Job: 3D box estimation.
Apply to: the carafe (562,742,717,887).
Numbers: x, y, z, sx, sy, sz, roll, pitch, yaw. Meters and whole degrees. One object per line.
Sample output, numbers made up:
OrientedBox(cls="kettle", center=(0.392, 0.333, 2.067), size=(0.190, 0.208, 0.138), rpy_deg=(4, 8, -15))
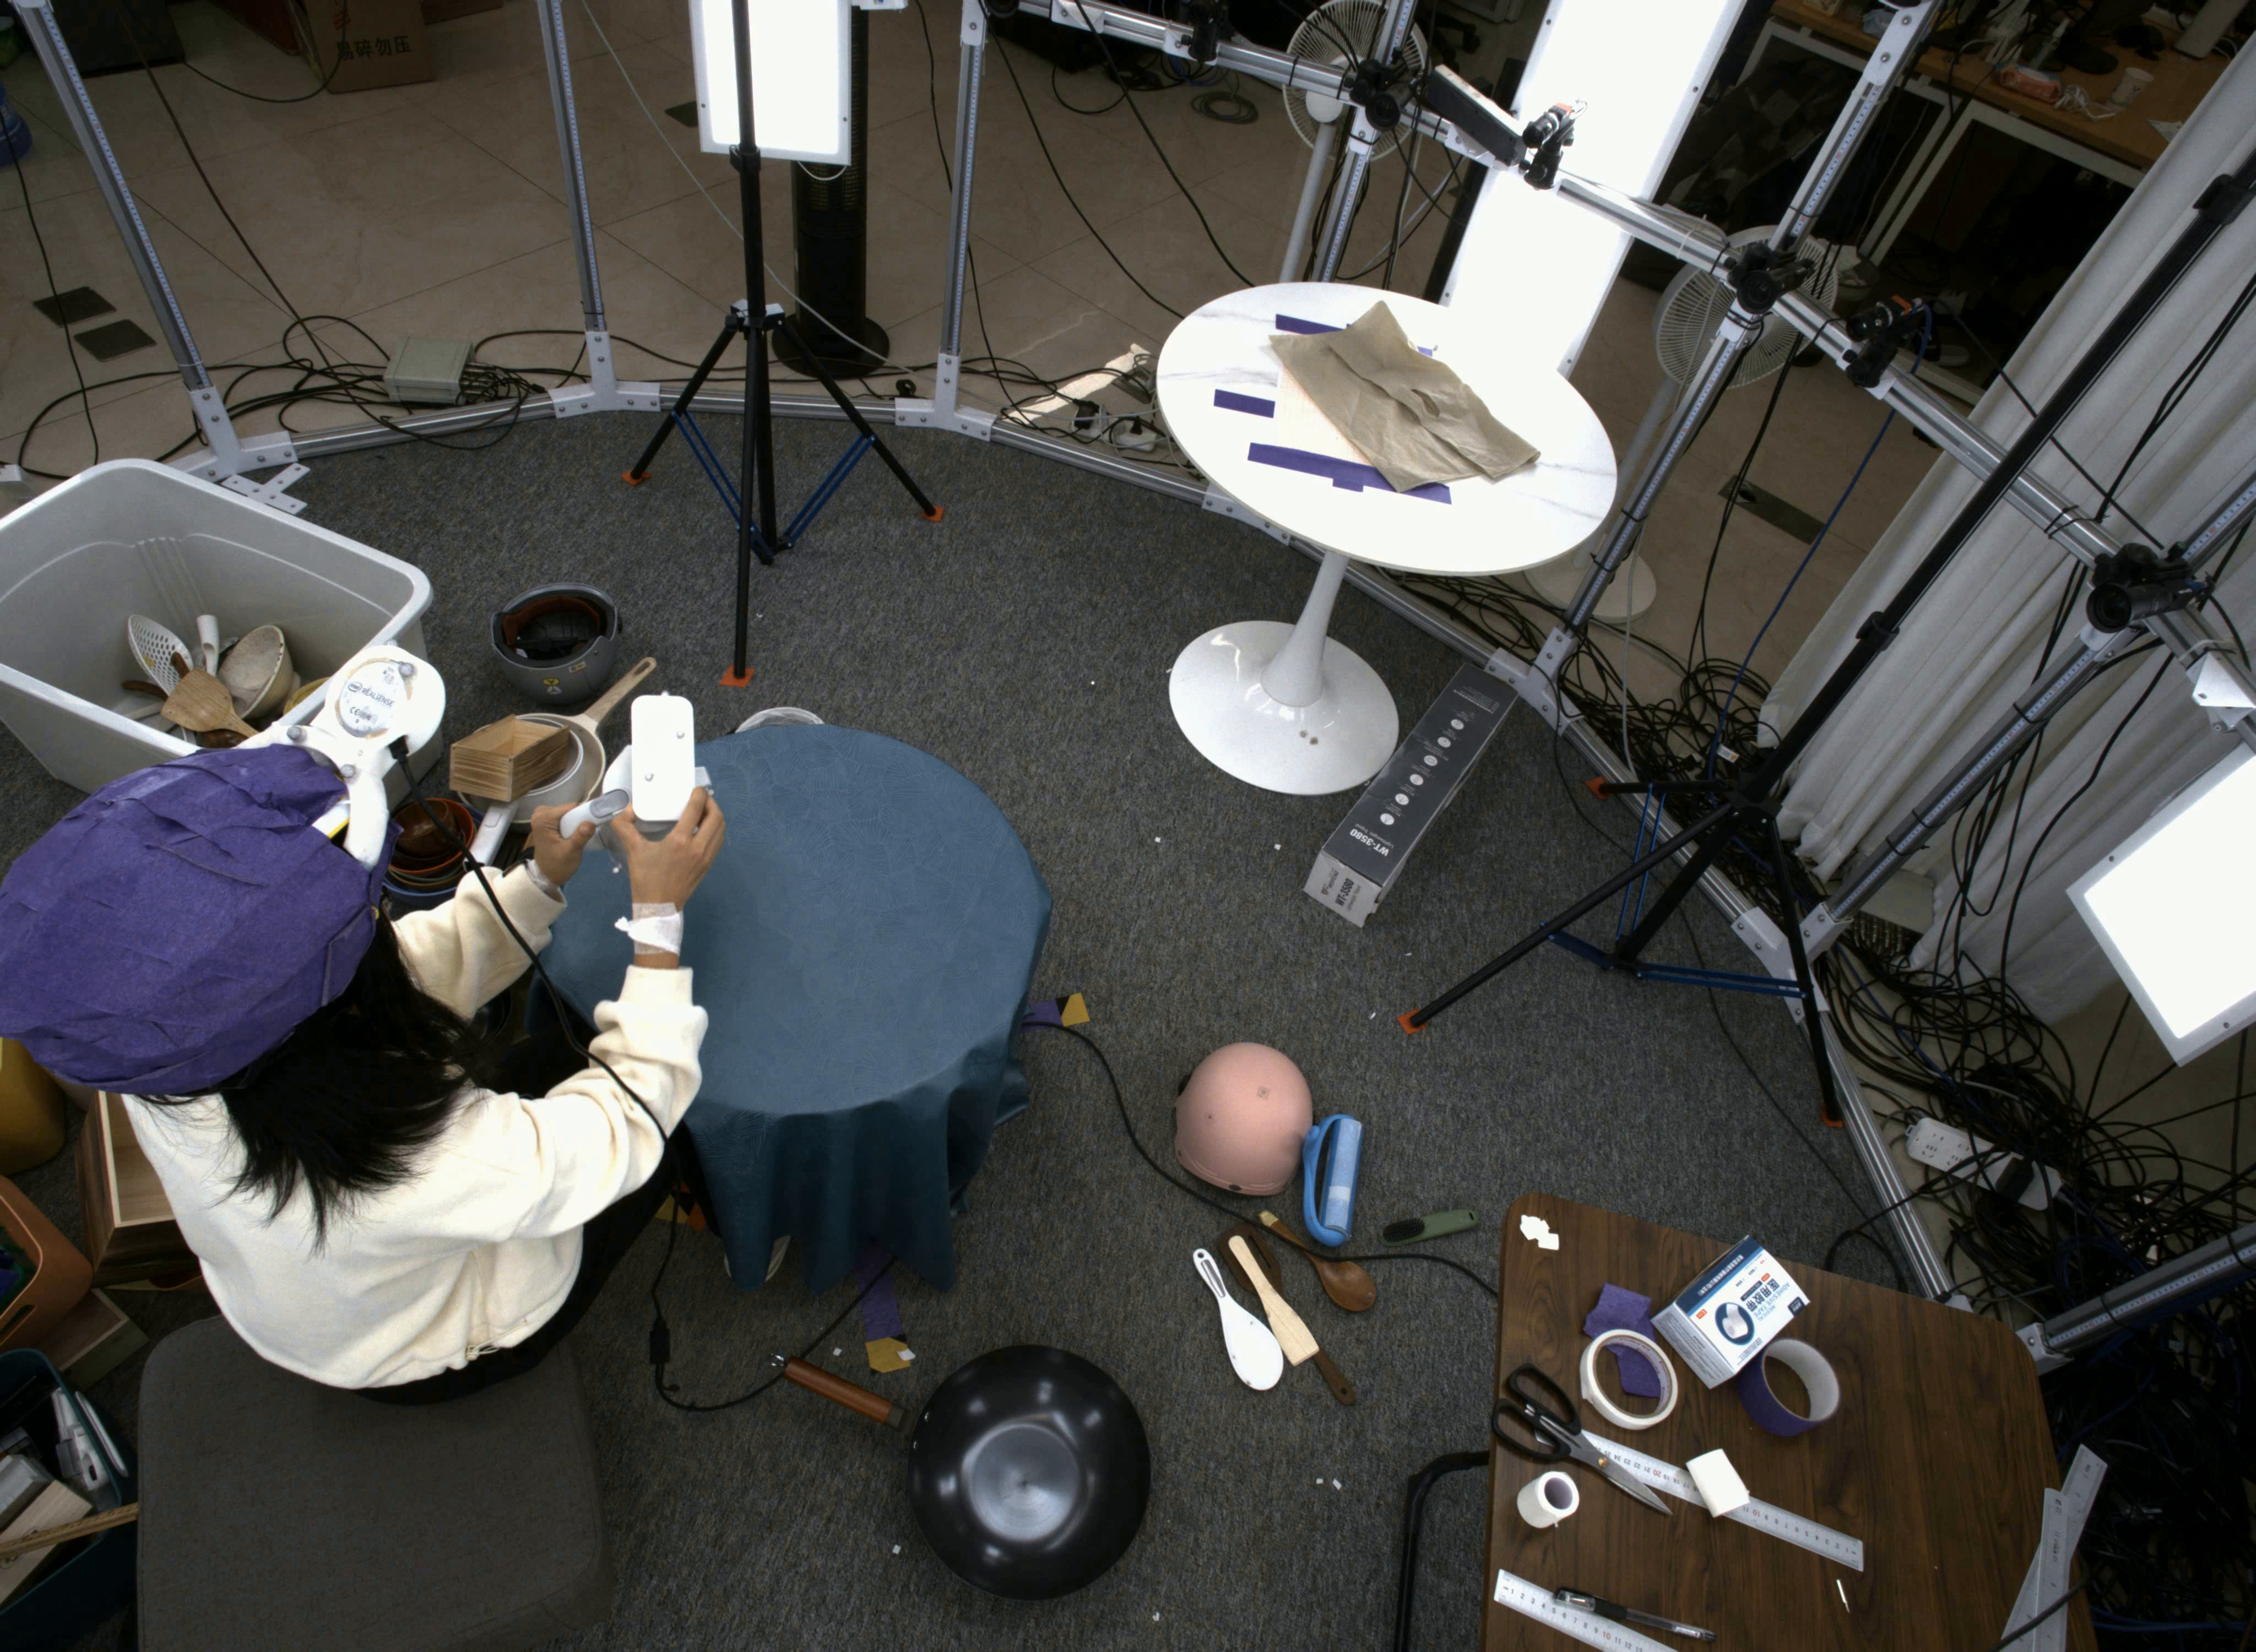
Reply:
OrientedBox(cls="carafe", center=(-0.540, -0.014, 1.404), size=(0.168, 0.247, 0.133), rpy_deg=(-22, 85, -19))

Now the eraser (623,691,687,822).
OrientedBox(cls="eraser", center=(-0.477, -0.071, 1.289), size=(0.064, 0.034, 0.131), rpy_deg=(-1, 81, -23))
